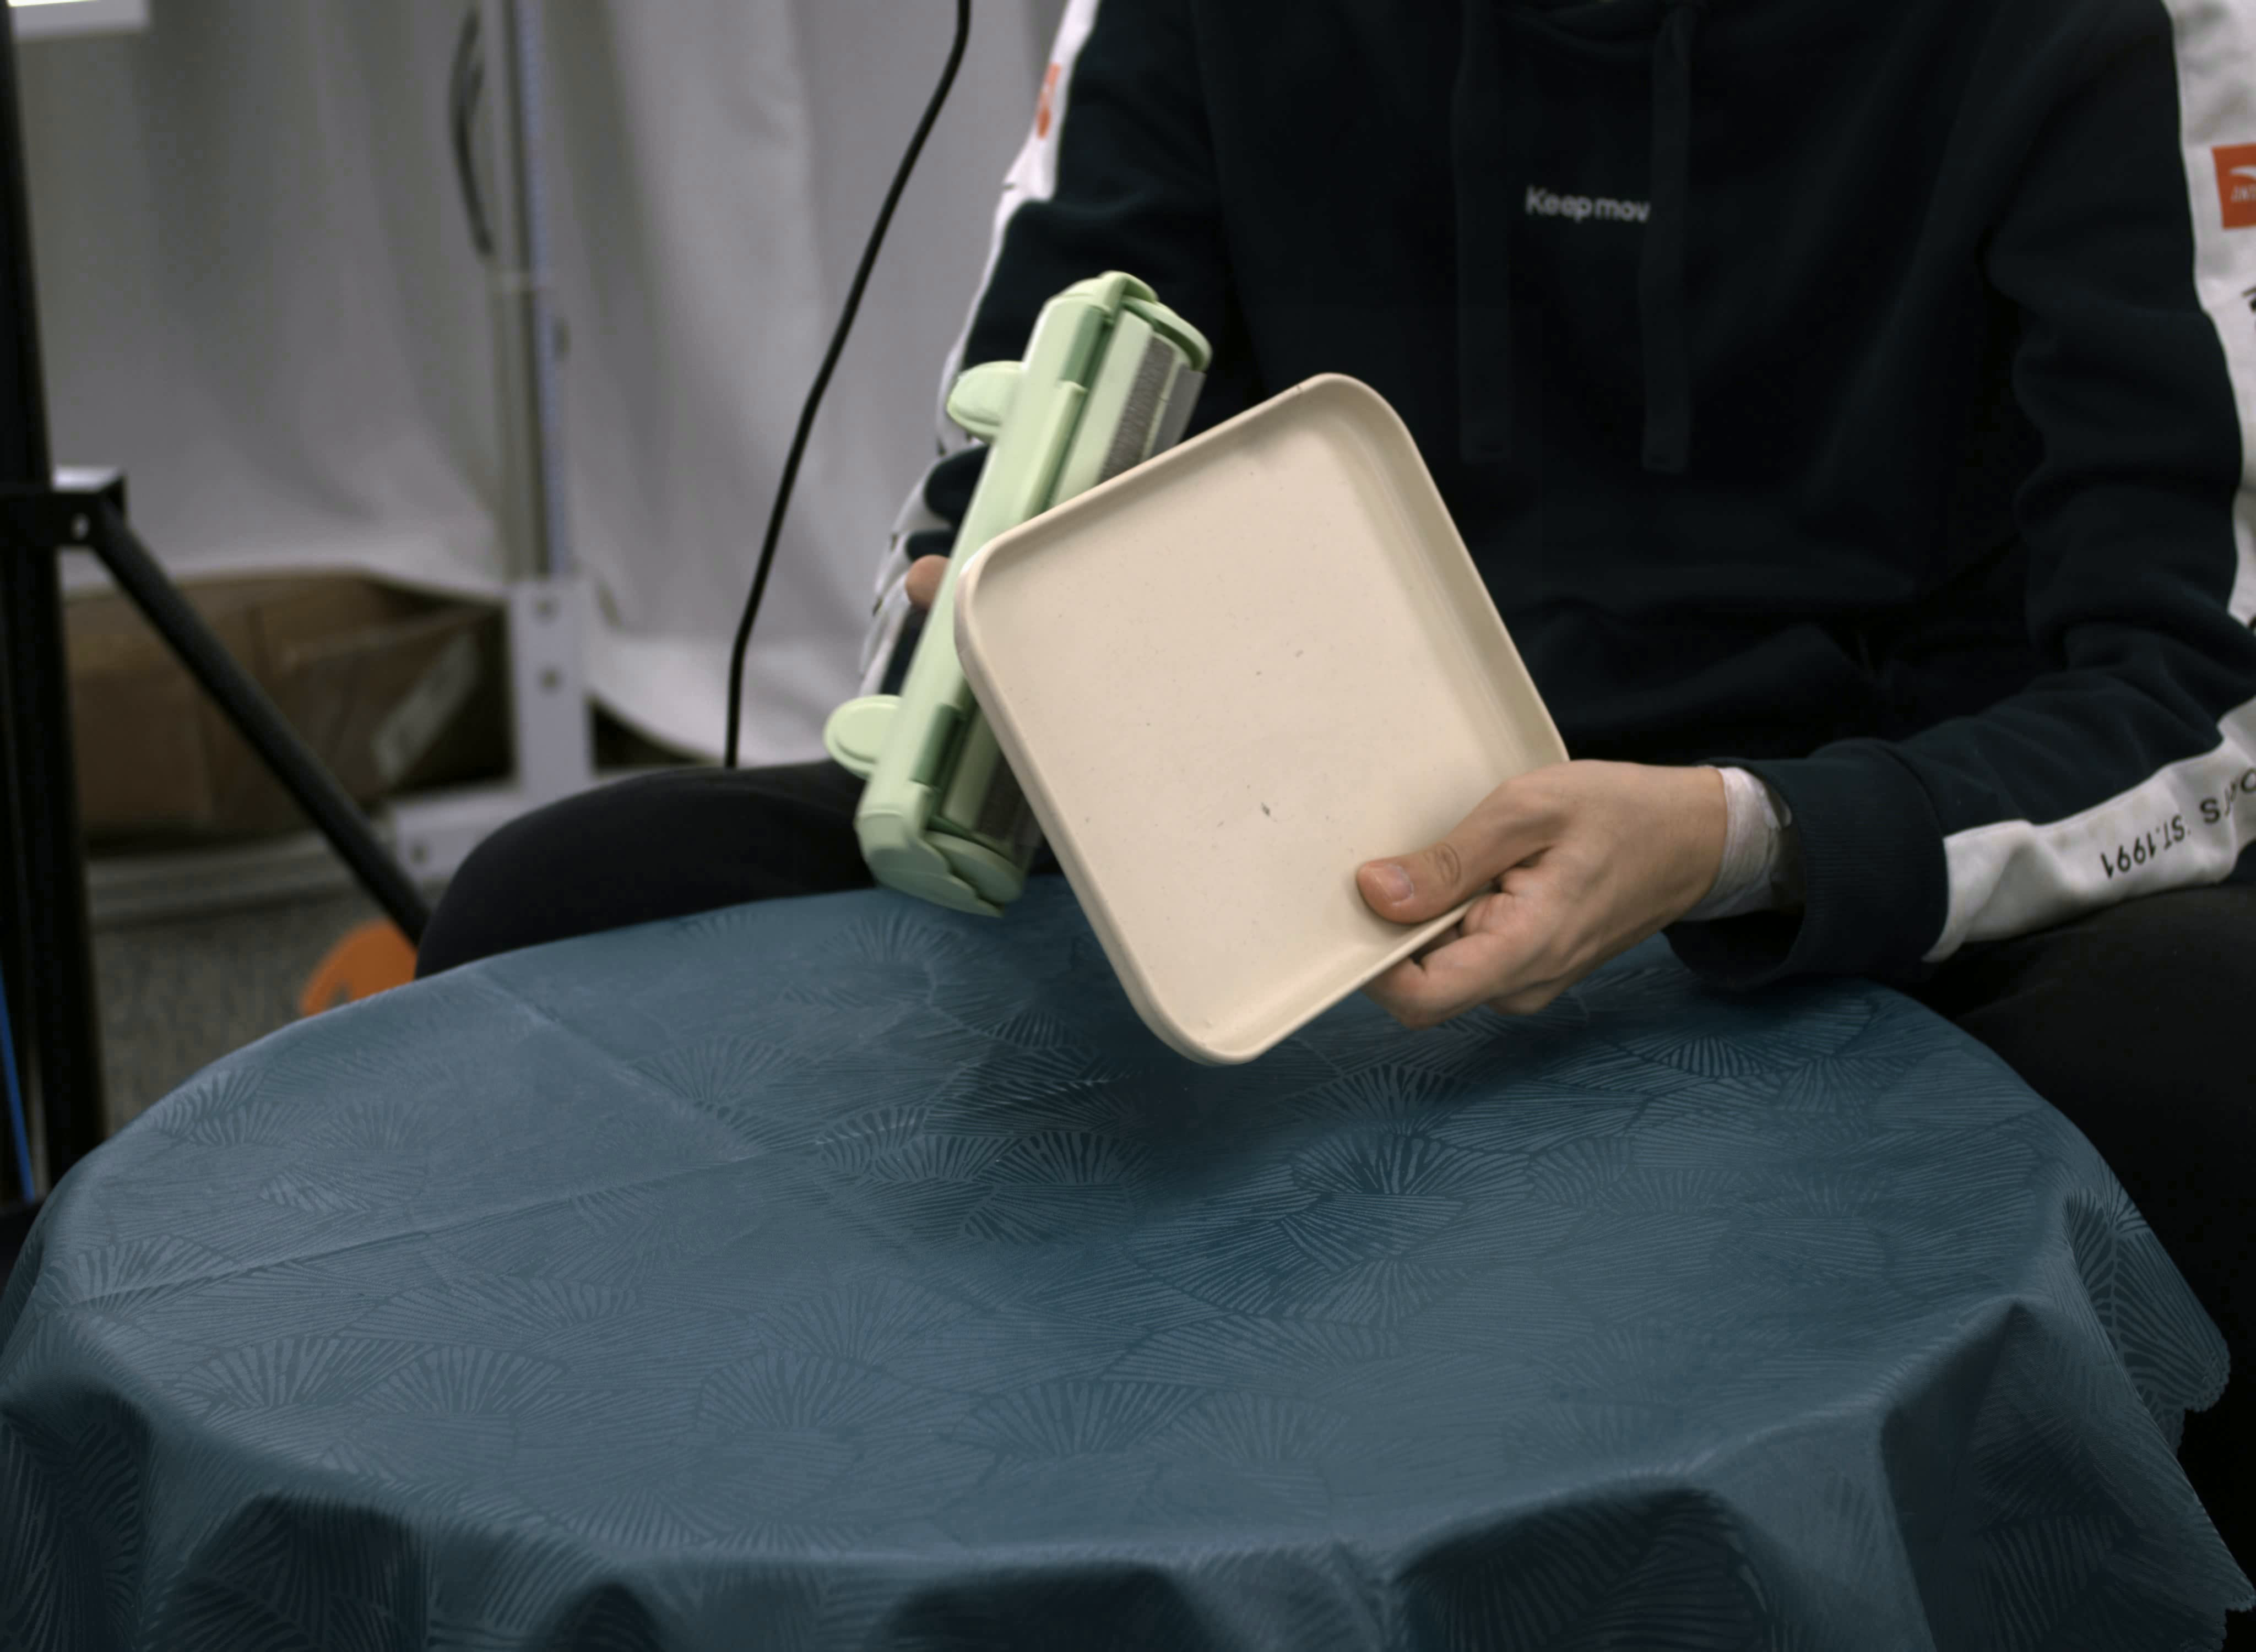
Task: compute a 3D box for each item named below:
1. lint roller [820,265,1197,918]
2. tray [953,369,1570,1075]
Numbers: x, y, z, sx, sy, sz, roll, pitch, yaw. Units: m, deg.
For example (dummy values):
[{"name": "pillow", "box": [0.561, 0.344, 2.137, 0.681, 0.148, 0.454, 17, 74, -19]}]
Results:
[{"name": "lint roller", "box": [-0.040, -0.057, 1.671, 0.082, 0.199, 0.183, 18, -18, 2]}, {"name": "tray", "box": [0.043, -0.034, 1.610, 0.018, 0.171, 0.235, -24, 4, 41]}]
